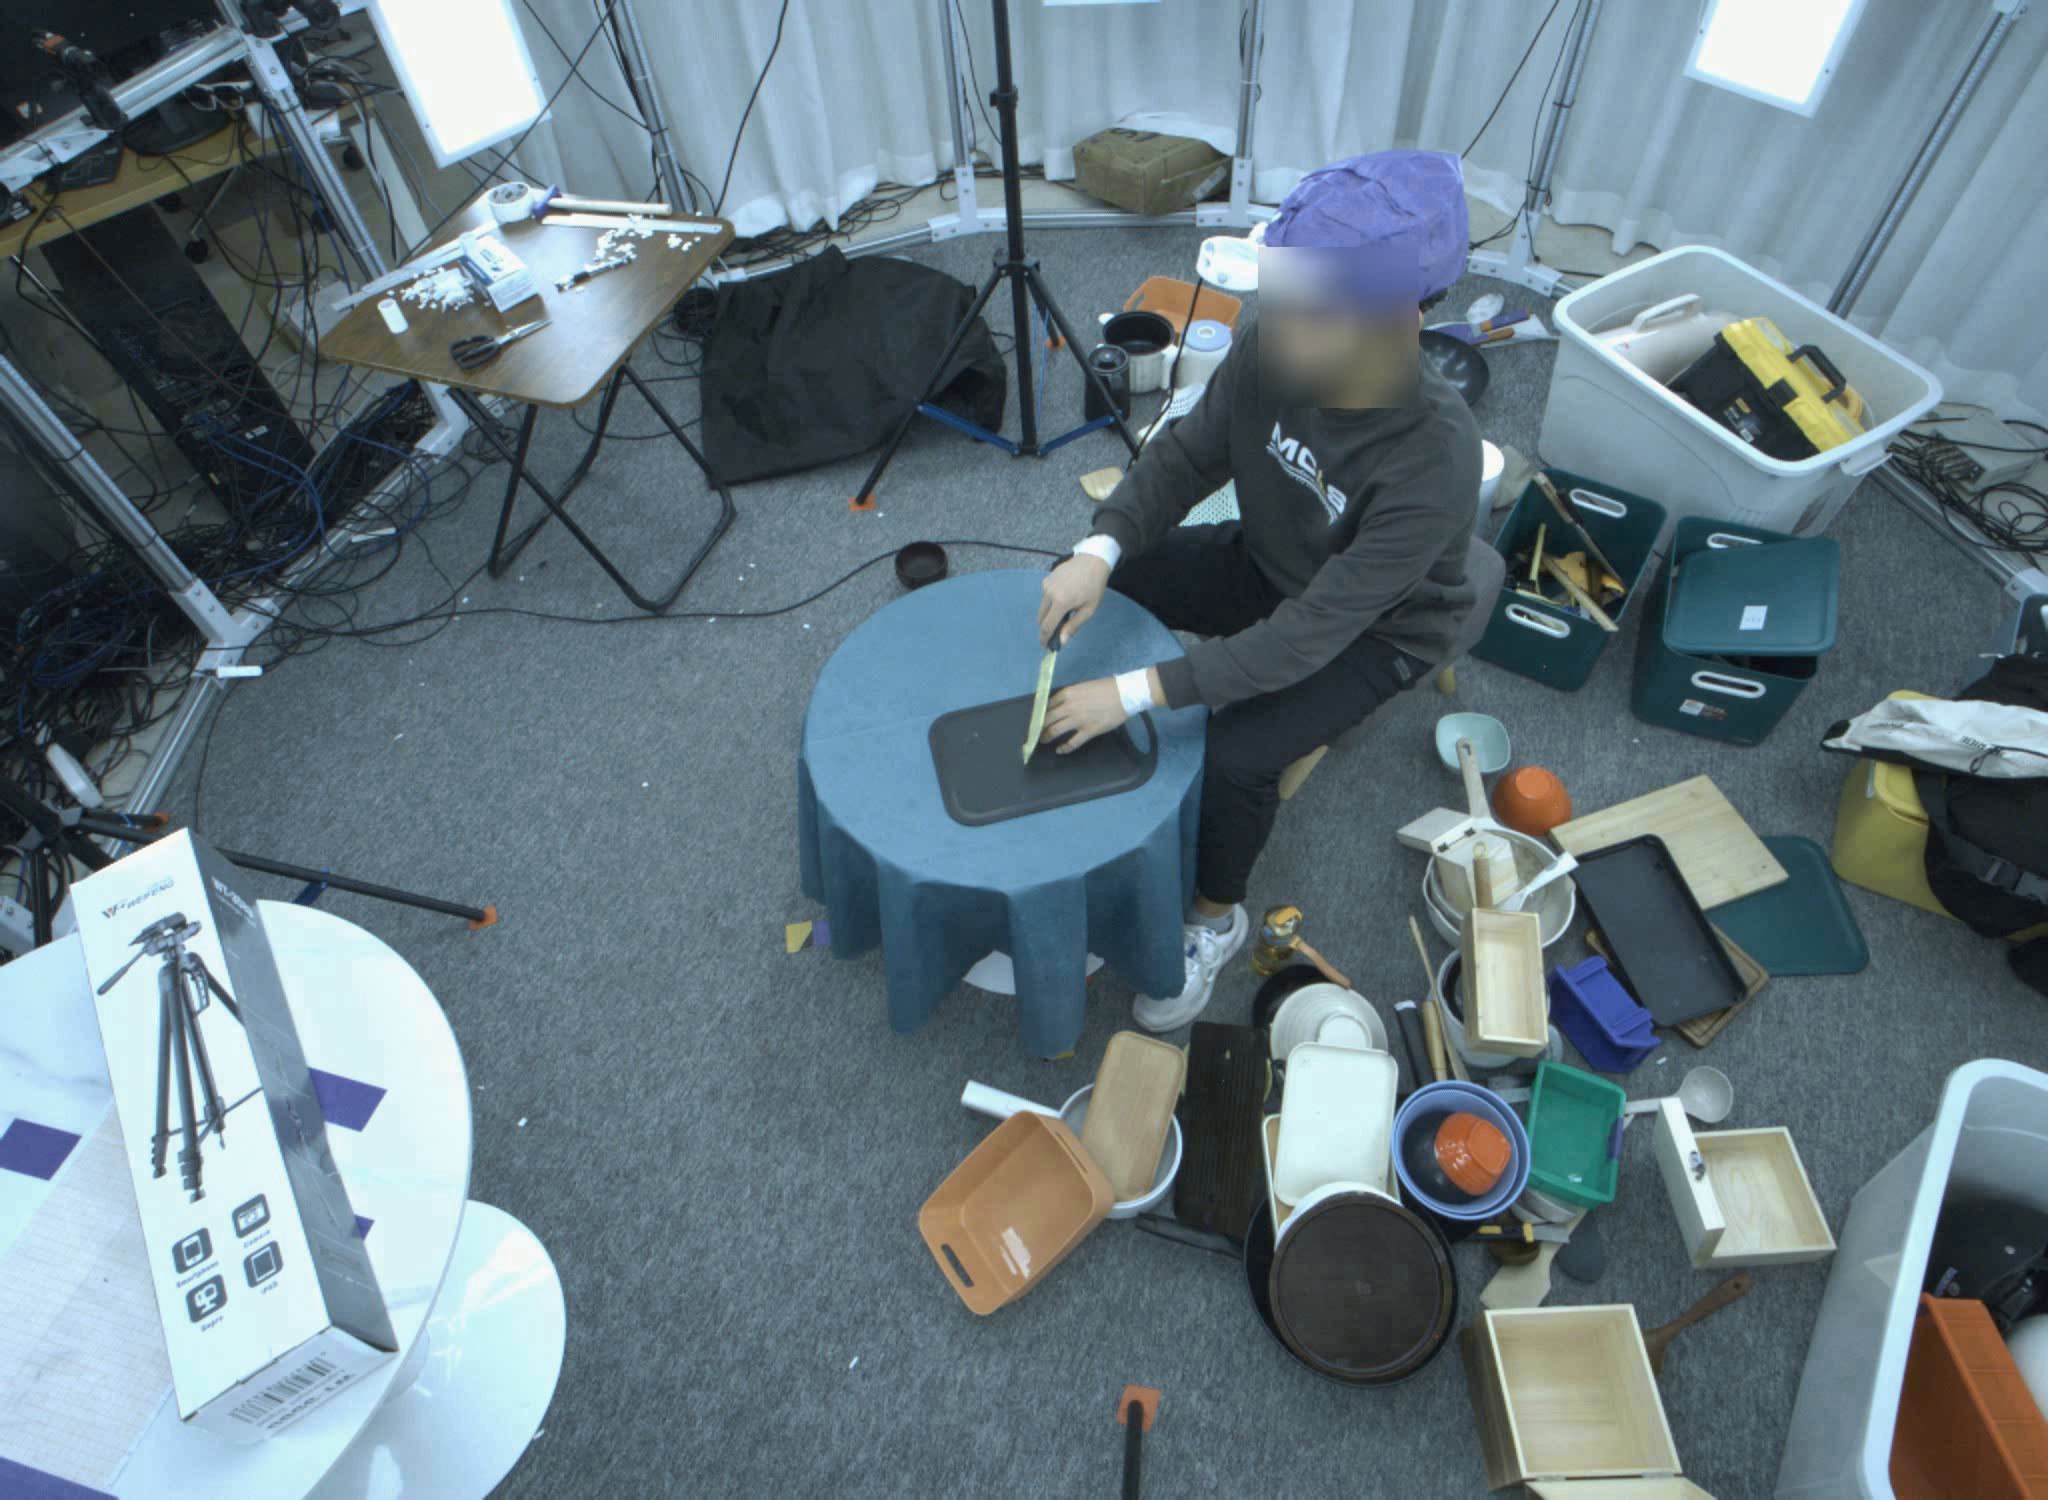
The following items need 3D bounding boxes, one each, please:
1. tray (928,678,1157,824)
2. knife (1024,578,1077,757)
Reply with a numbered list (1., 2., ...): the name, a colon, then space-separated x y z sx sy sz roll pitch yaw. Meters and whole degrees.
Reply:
1. tray: 0.030 -0.006 1.794 0.327 0.010 0.208 -13 55 -8
2. knife: 0.035 -0.122 1.799 0.027 0.080 0.288 19 69 -14
